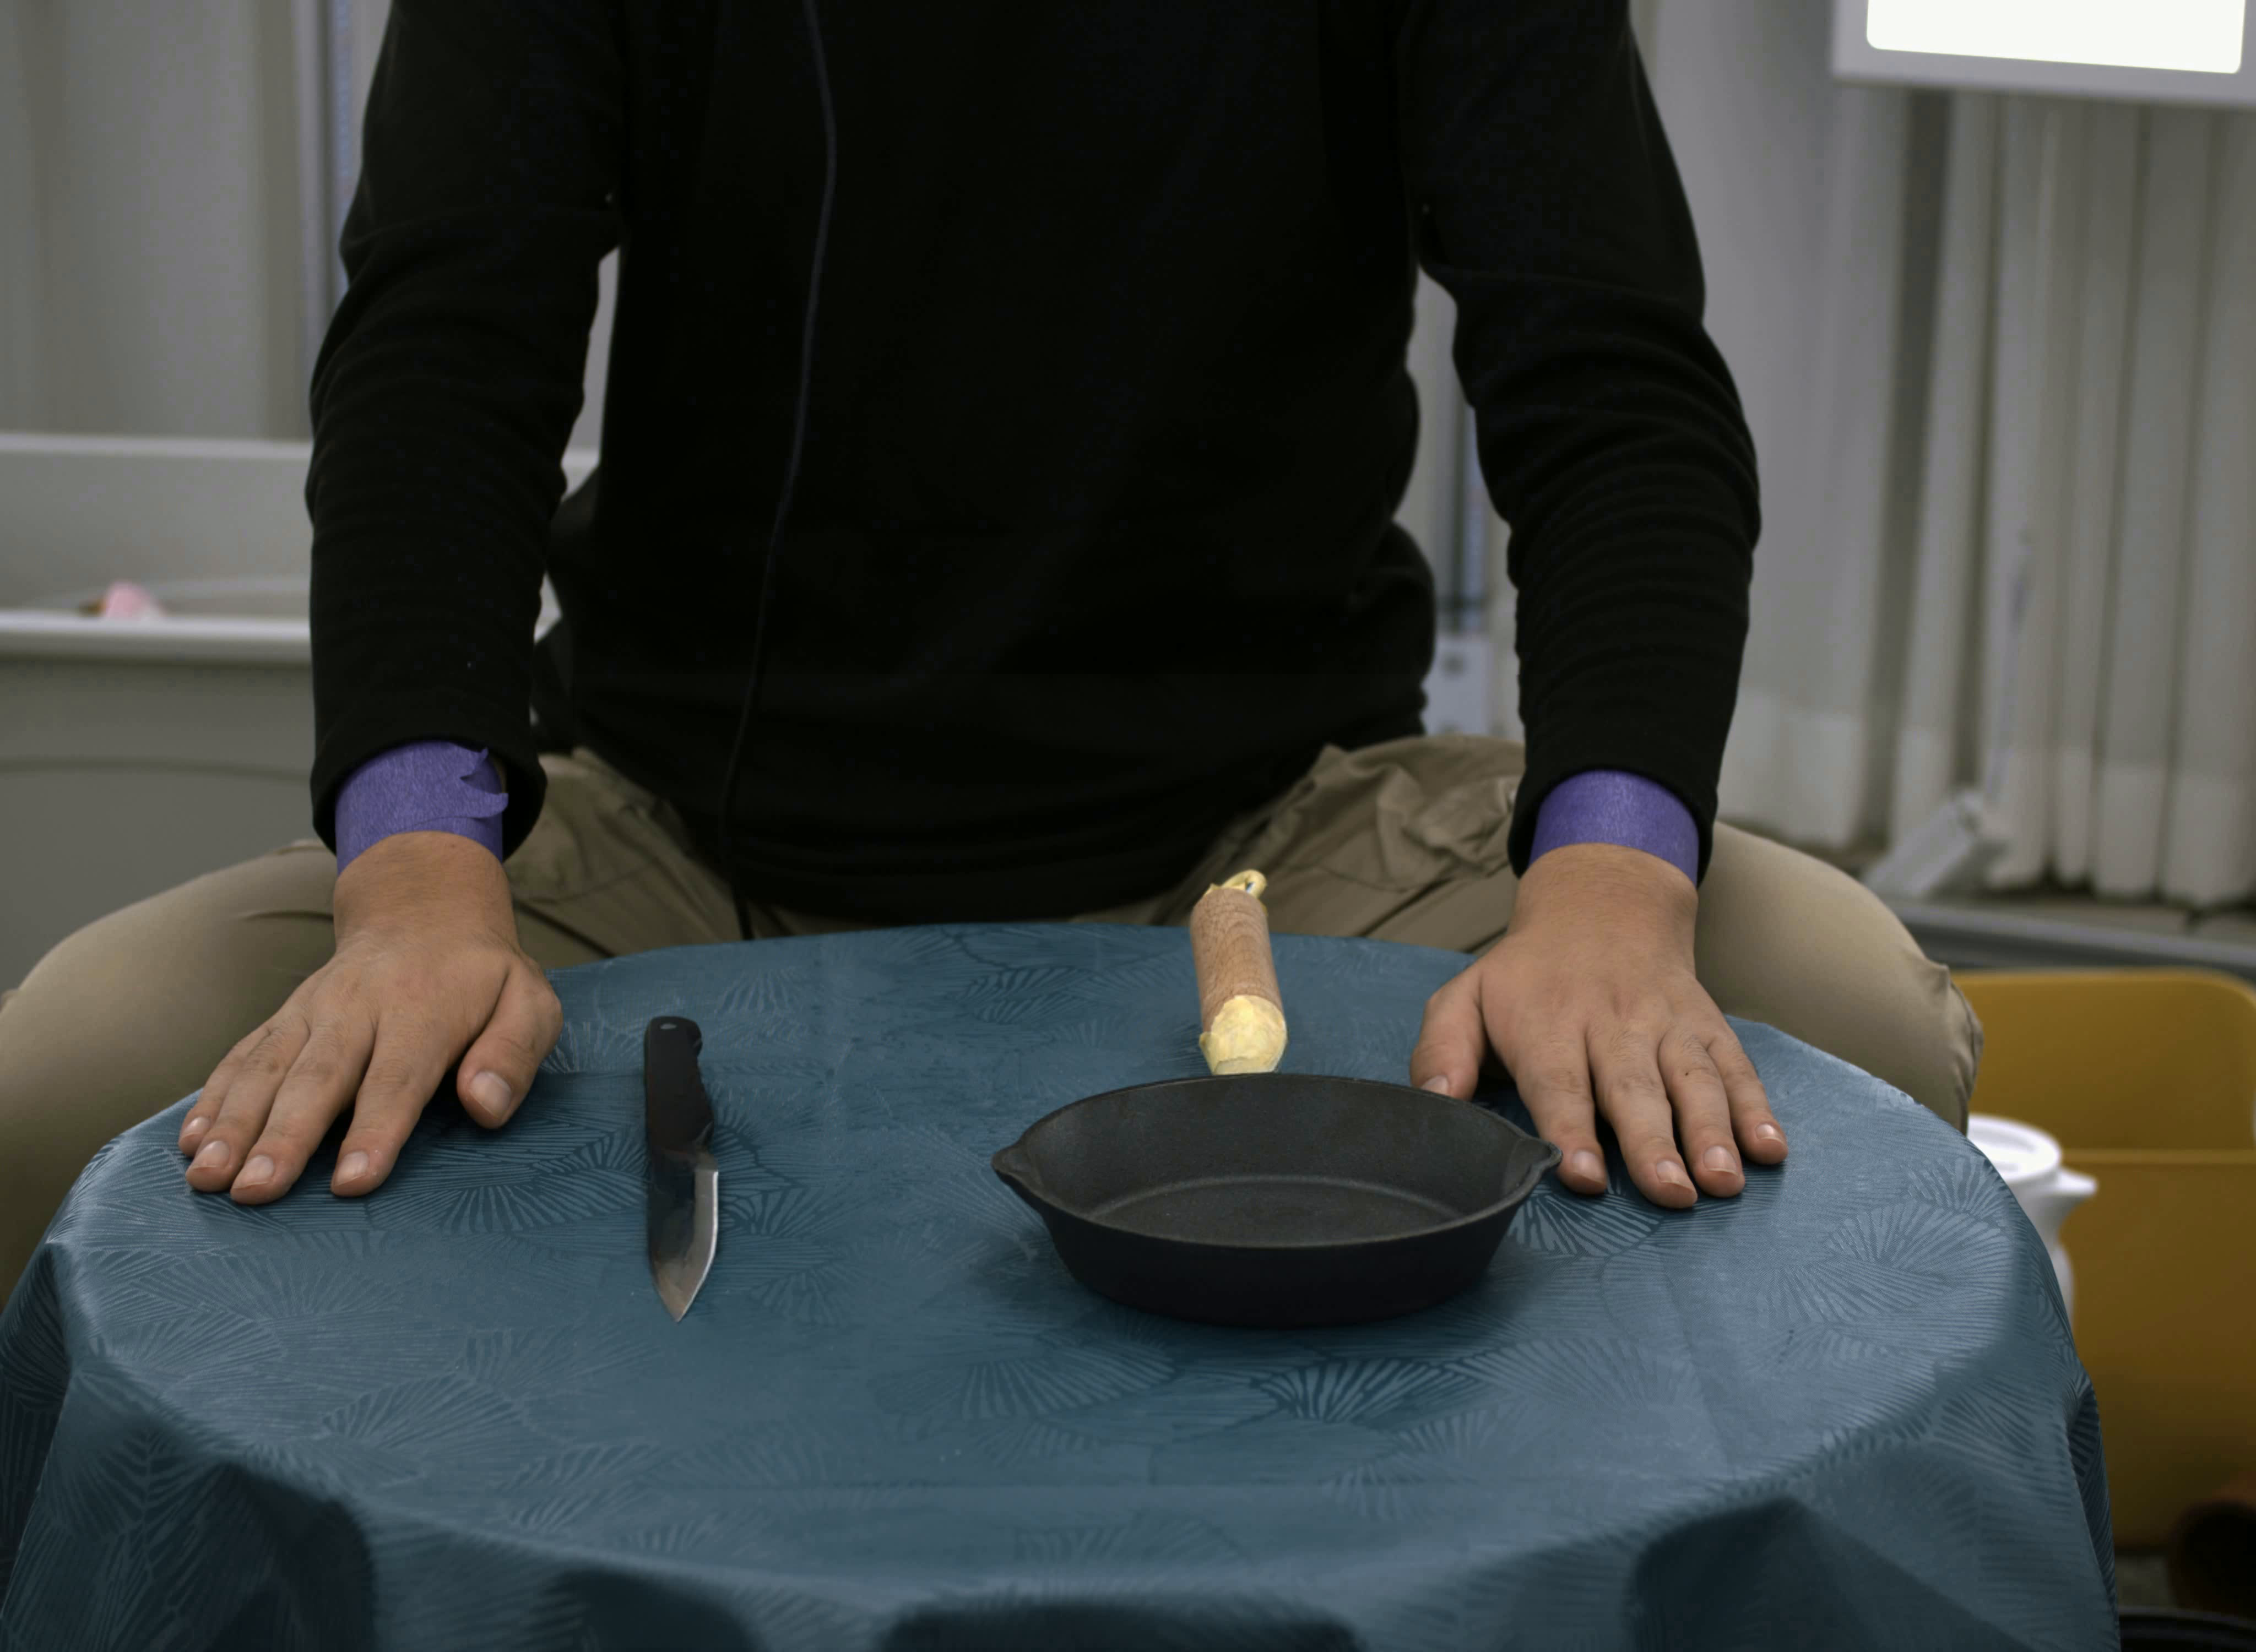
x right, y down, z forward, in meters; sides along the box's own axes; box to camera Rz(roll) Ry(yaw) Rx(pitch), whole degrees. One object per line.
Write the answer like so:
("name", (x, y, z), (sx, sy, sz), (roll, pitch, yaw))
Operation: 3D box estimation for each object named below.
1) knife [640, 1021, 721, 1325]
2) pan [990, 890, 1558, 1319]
("knife", (-0.138, 0.106, 1.621), (0.024, 0.016, 0.236), (-1, 18, -5))
("pan", (0.042, 0.084, 1.641), (0.168, 0.050, 0.322), (0, 15, -1))
